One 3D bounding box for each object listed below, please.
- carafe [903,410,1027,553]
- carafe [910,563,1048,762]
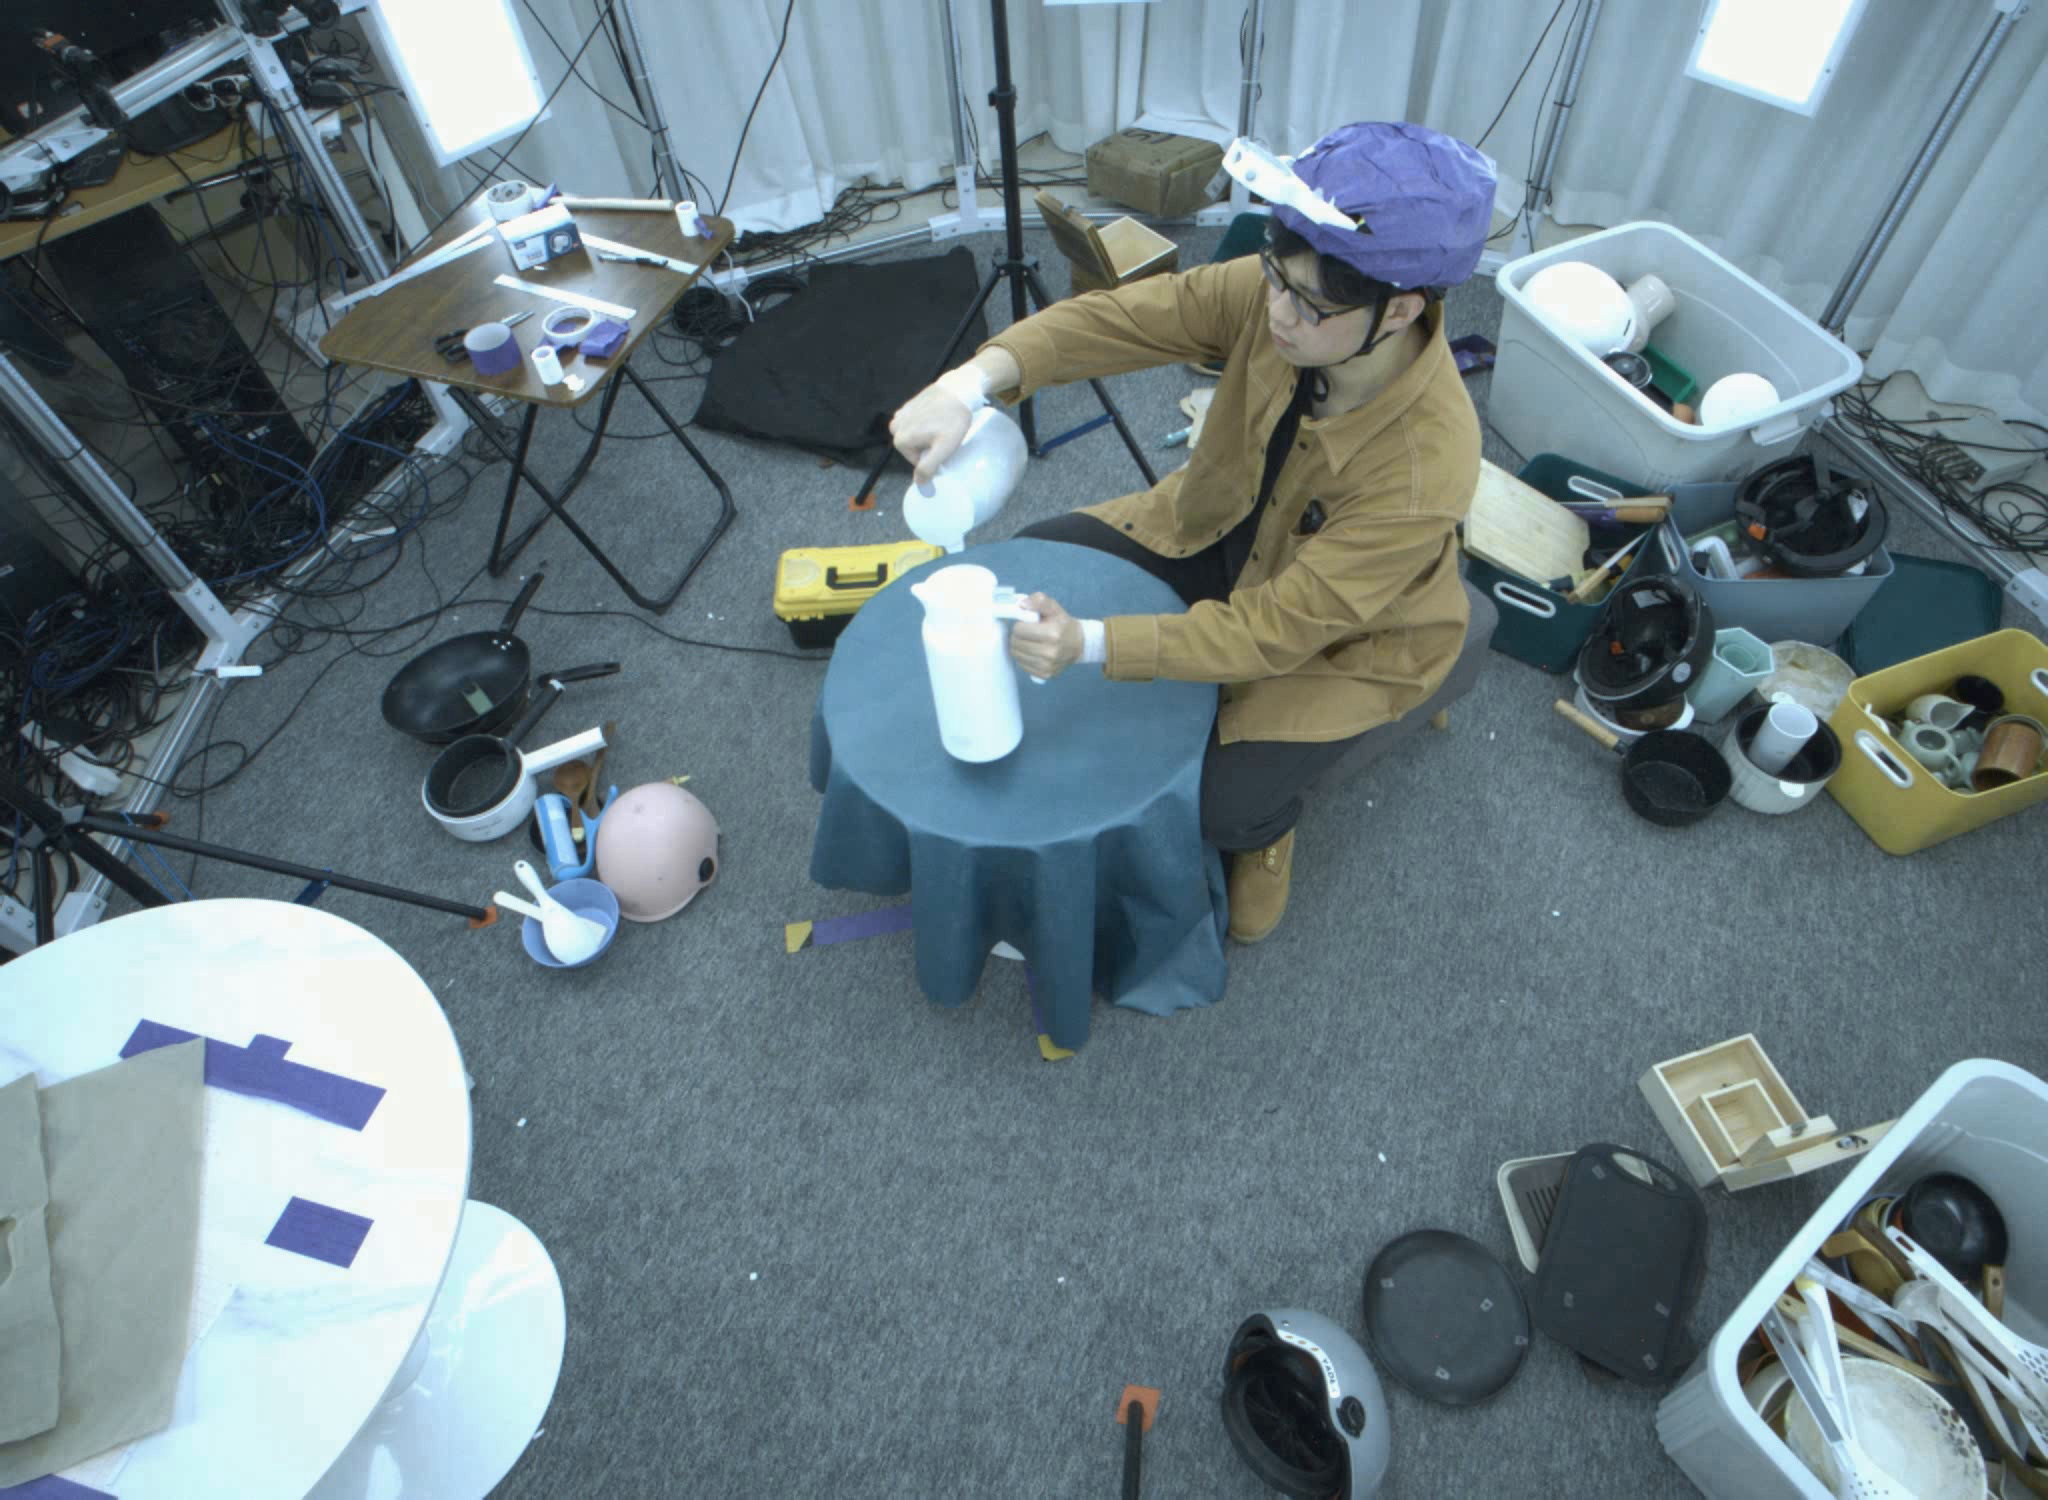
[{"bbox_3d":[-0.092,-0.371,1.595,0.131,0.170,0.248,-9,28,18],"label":"carafe"},{"bbox_3d":[-0.054,-0.114,1.661,0.171,0.272,0.123,5,42,12],"label":"carafe"}]
